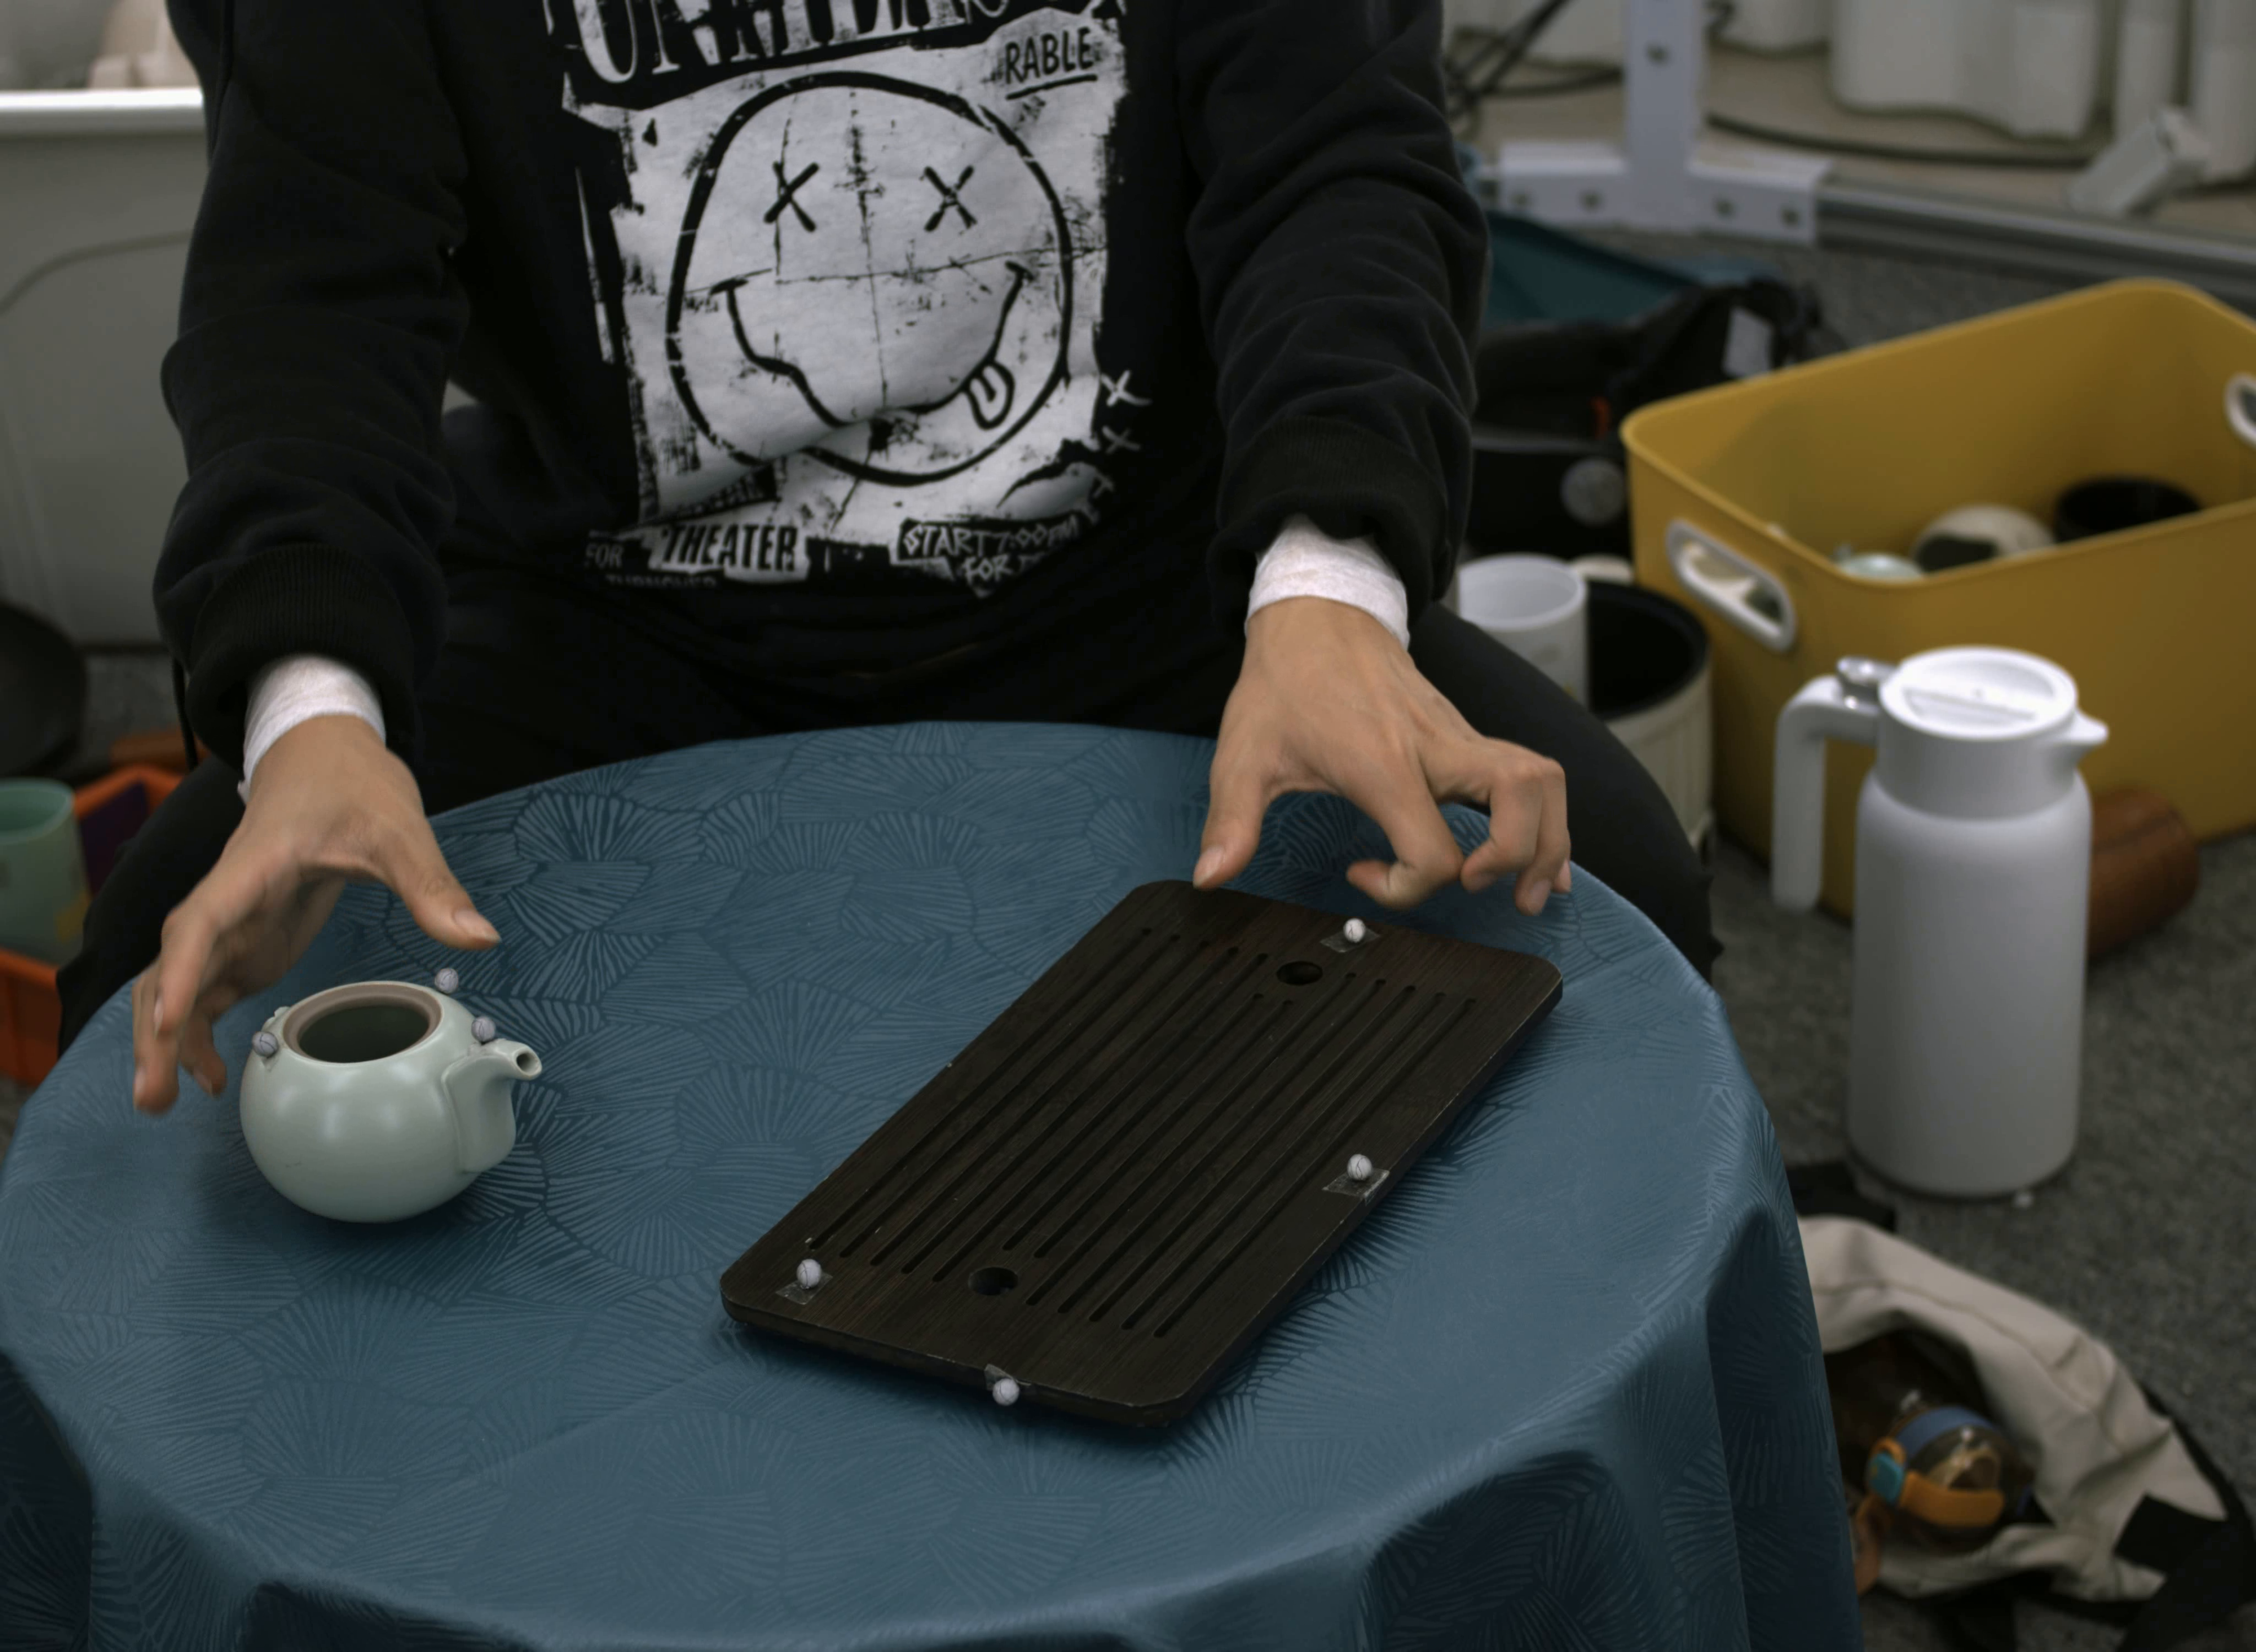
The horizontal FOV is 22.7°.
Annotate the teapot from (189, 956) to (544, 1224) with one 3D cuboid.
[{"bbox_3d":[-0.251,0.091,1.865,0.143,0.074,0.090,15,32,28],"label":"teapot"}]

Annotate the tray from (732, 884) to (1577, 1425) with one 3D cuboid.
[{"bbox_3d":[0.014,0.106,1.868,0.169,0.018,0.311,11,30,26],"label":"tray"}]
